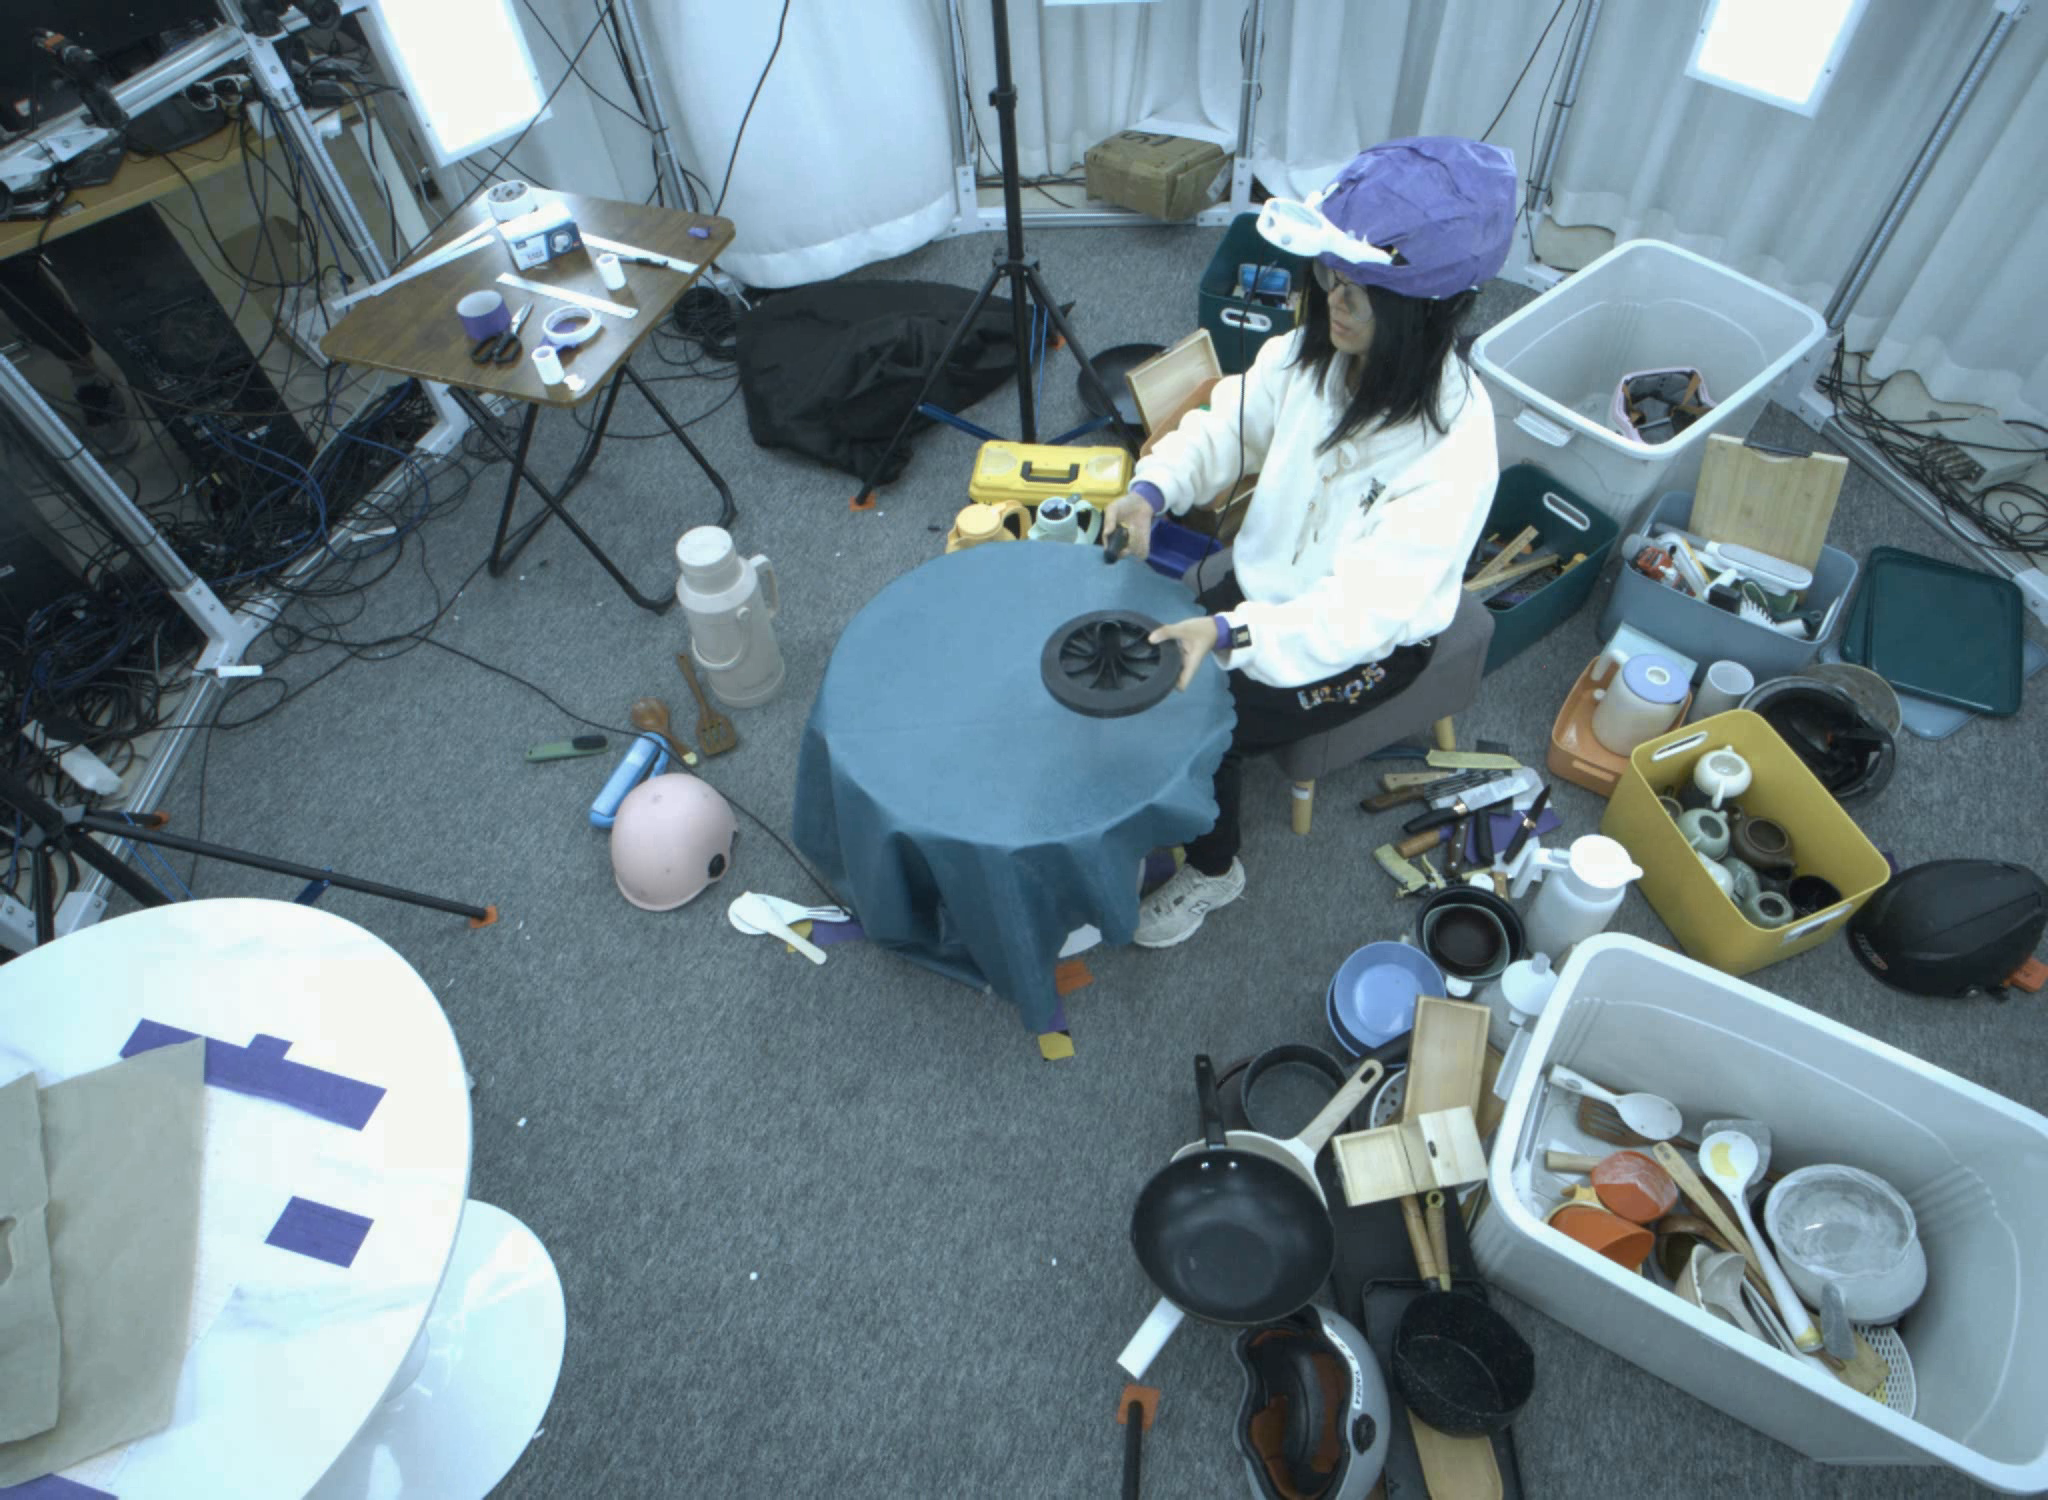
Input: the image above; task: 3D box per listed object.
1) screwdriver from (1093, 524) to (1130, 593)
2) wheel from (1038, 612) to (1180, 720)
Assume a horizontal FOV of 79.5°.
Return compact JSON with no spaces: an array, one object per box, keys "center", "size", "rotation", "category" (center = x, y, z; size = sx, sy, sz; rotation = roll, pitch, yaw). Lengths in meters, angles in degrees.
[{"center":[0.124,-0.271,1.755],"size":[0.031,0.032,0.197],"rotation":[9,40,10],"category":"screwdriver"},{"center":[0.110,-0.128,1.623],"size":[0.188,0.080,0.187],"rotation":[9,52,13],"category":"wheel"}]
